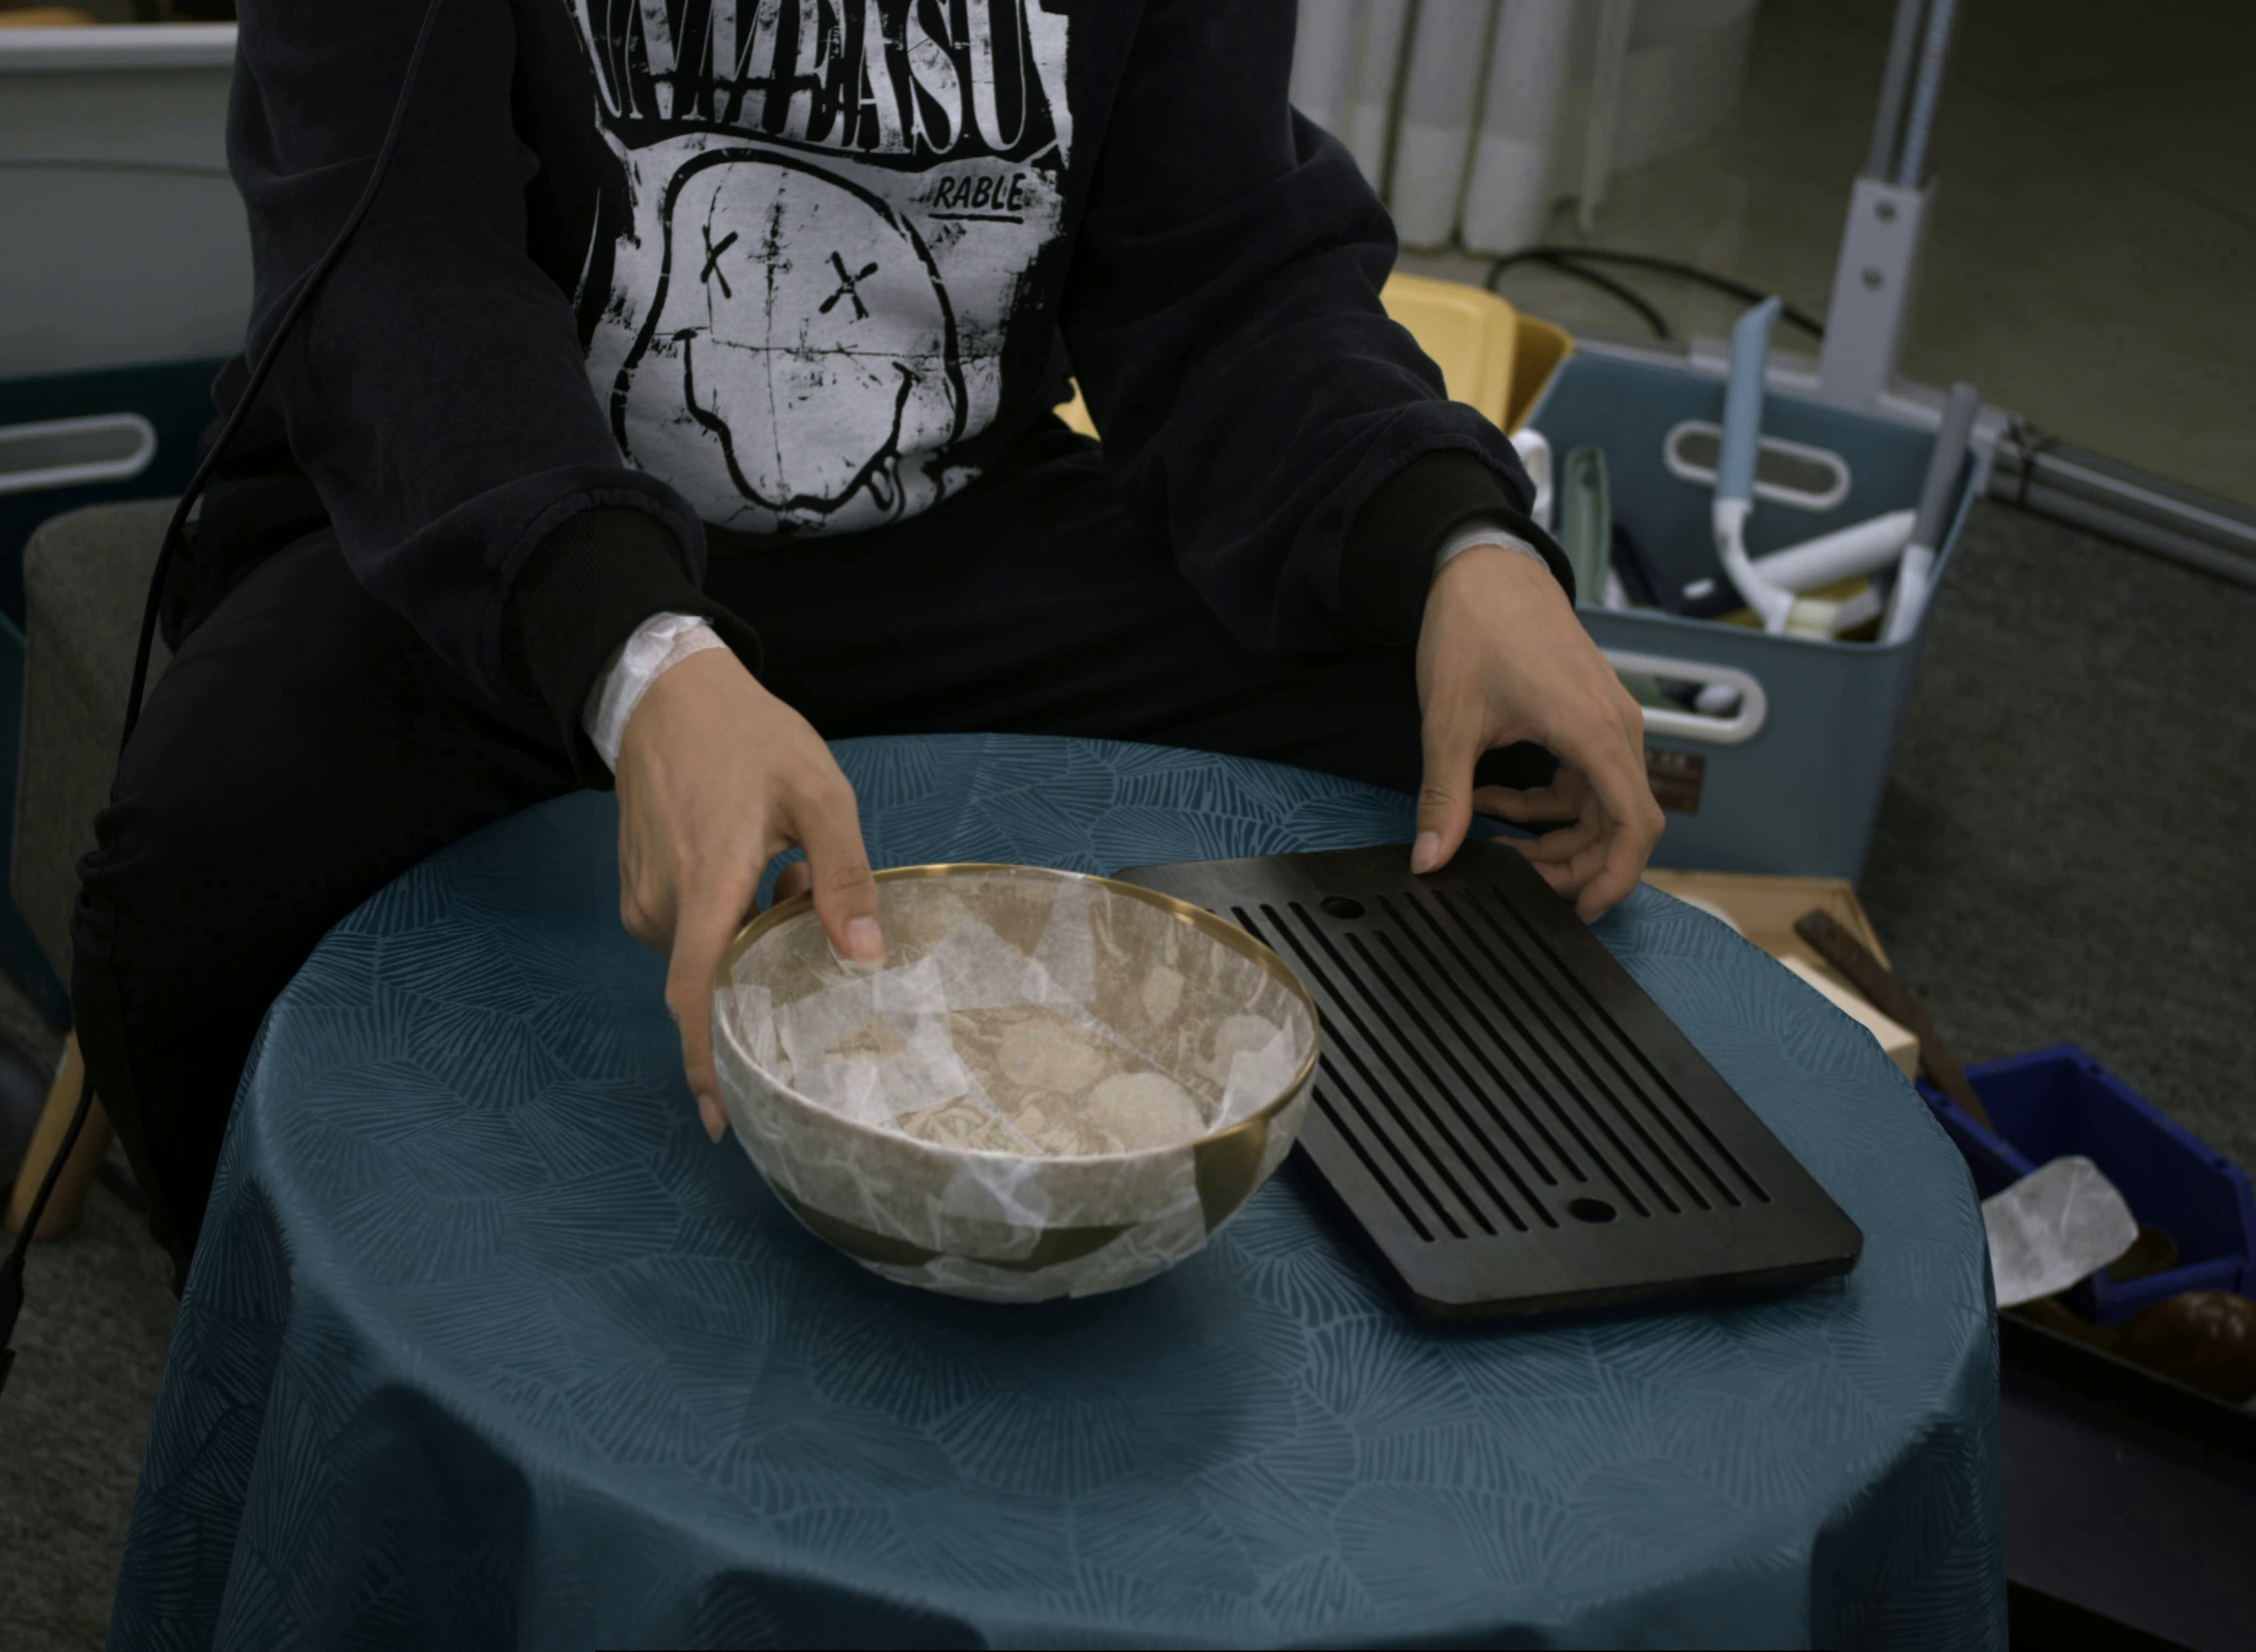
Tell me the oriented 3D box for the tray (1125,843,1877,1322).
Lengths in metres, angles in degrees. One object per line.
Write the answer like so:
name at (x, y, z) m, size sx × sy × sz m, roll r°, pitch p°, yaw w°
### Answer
tray at (0.123, 0.088, 1.880) m, size 0.169 × 0.018 × 0.308 m, roll -5°, pitch 28°, yaw -21°

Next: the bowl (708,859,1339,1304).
bowl at (-0.036, 0.095, 1.745) m, size 0.214 × 0.094 × 0.216 m, roll 4°, pitch 26°, yaw -2°
